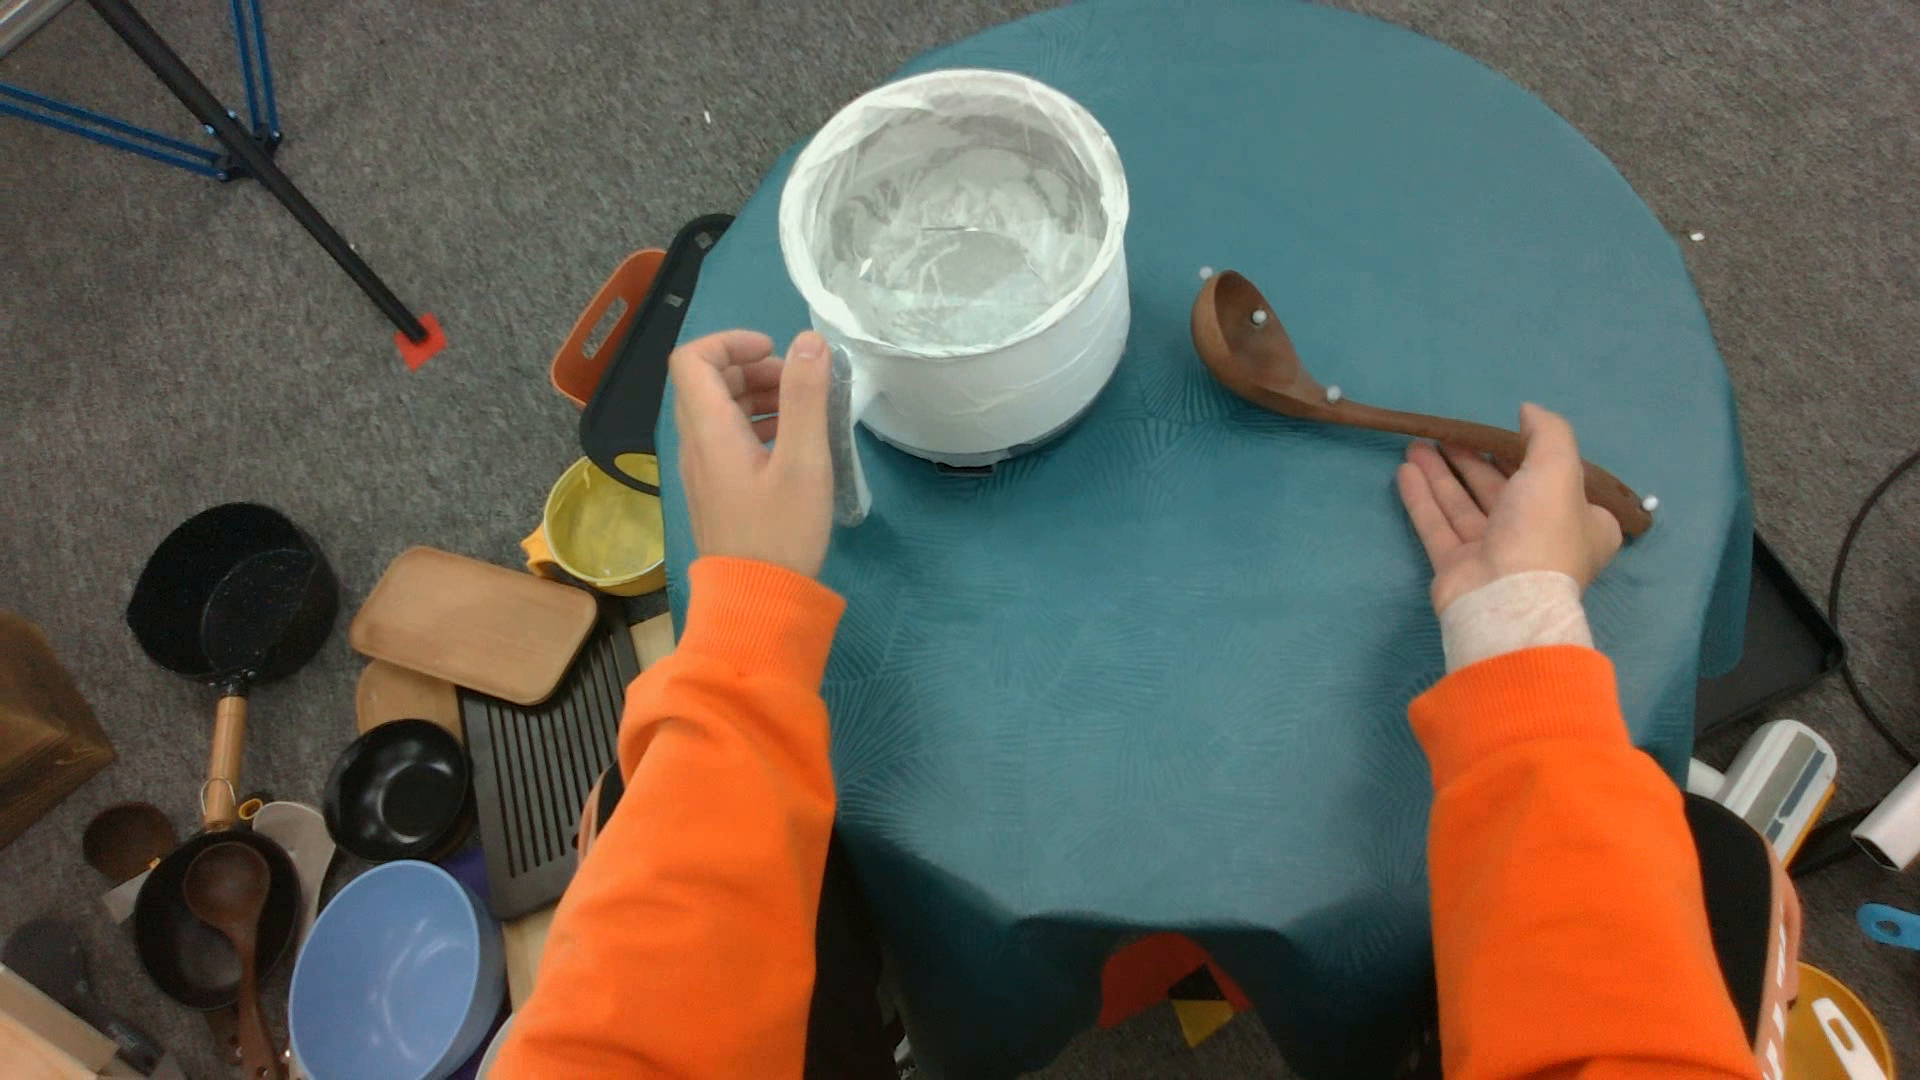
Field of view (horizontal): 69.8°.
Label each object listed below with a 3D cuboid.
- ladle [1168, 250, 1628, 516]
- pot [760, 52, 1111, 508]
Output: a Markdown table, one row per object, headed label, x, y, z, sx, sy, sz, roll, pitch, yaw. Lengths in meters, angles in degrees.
| label | x | y | z | sx | sy | sz | roll | pitch | yaw |
| --- | --- | --- | --- | --- | --- | --- | --- | --- | --- |
| ladle | 0.232 | -0.085 | 0.733 | 0.260 | 0.065 | 0.077 | 22 | 45 | 16 |
| pot | -0.022 | -0.129 | 0.740 | 0.178 | 0.136 | 0.234 | 28 | 72 | 18 |
